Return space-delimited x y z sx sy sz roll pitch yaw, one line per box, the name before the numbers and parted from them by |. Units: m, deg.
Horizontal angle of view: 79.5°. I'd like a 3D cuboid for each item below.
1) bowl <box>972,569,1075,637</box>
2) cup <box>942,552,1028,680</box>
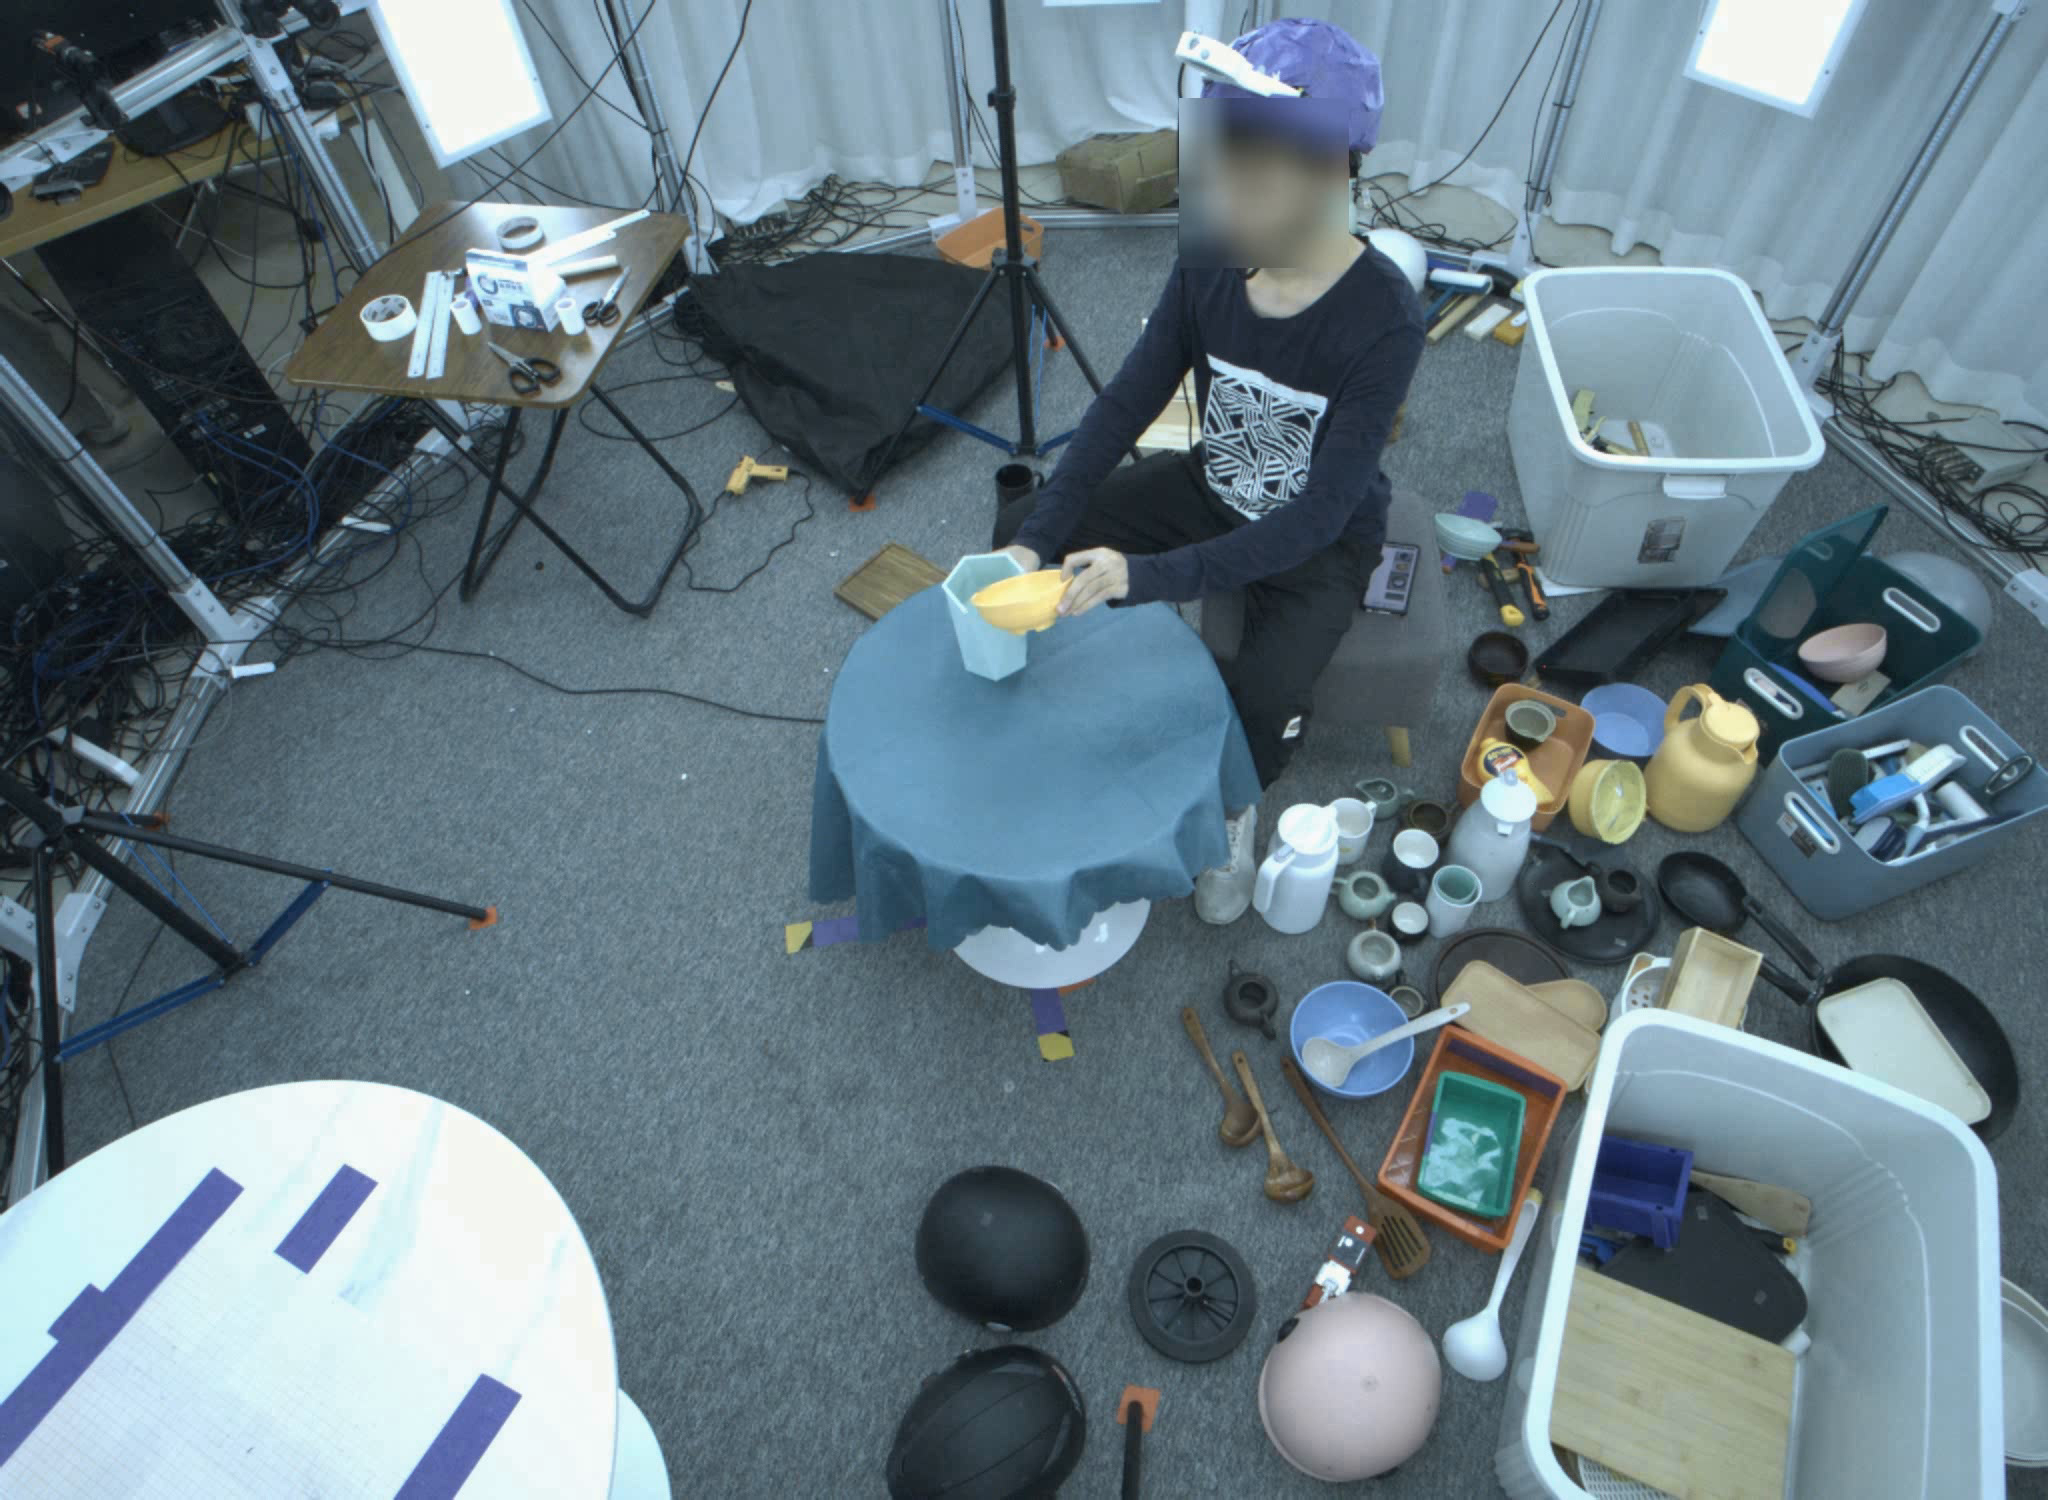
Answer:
bowl | 0.006 -0.193 1.668 0.145 0.061 0.144 -12 24 7
cup | -0.049 -0.193 1.817 0.116 0.164 0.128 -30 59 -17
